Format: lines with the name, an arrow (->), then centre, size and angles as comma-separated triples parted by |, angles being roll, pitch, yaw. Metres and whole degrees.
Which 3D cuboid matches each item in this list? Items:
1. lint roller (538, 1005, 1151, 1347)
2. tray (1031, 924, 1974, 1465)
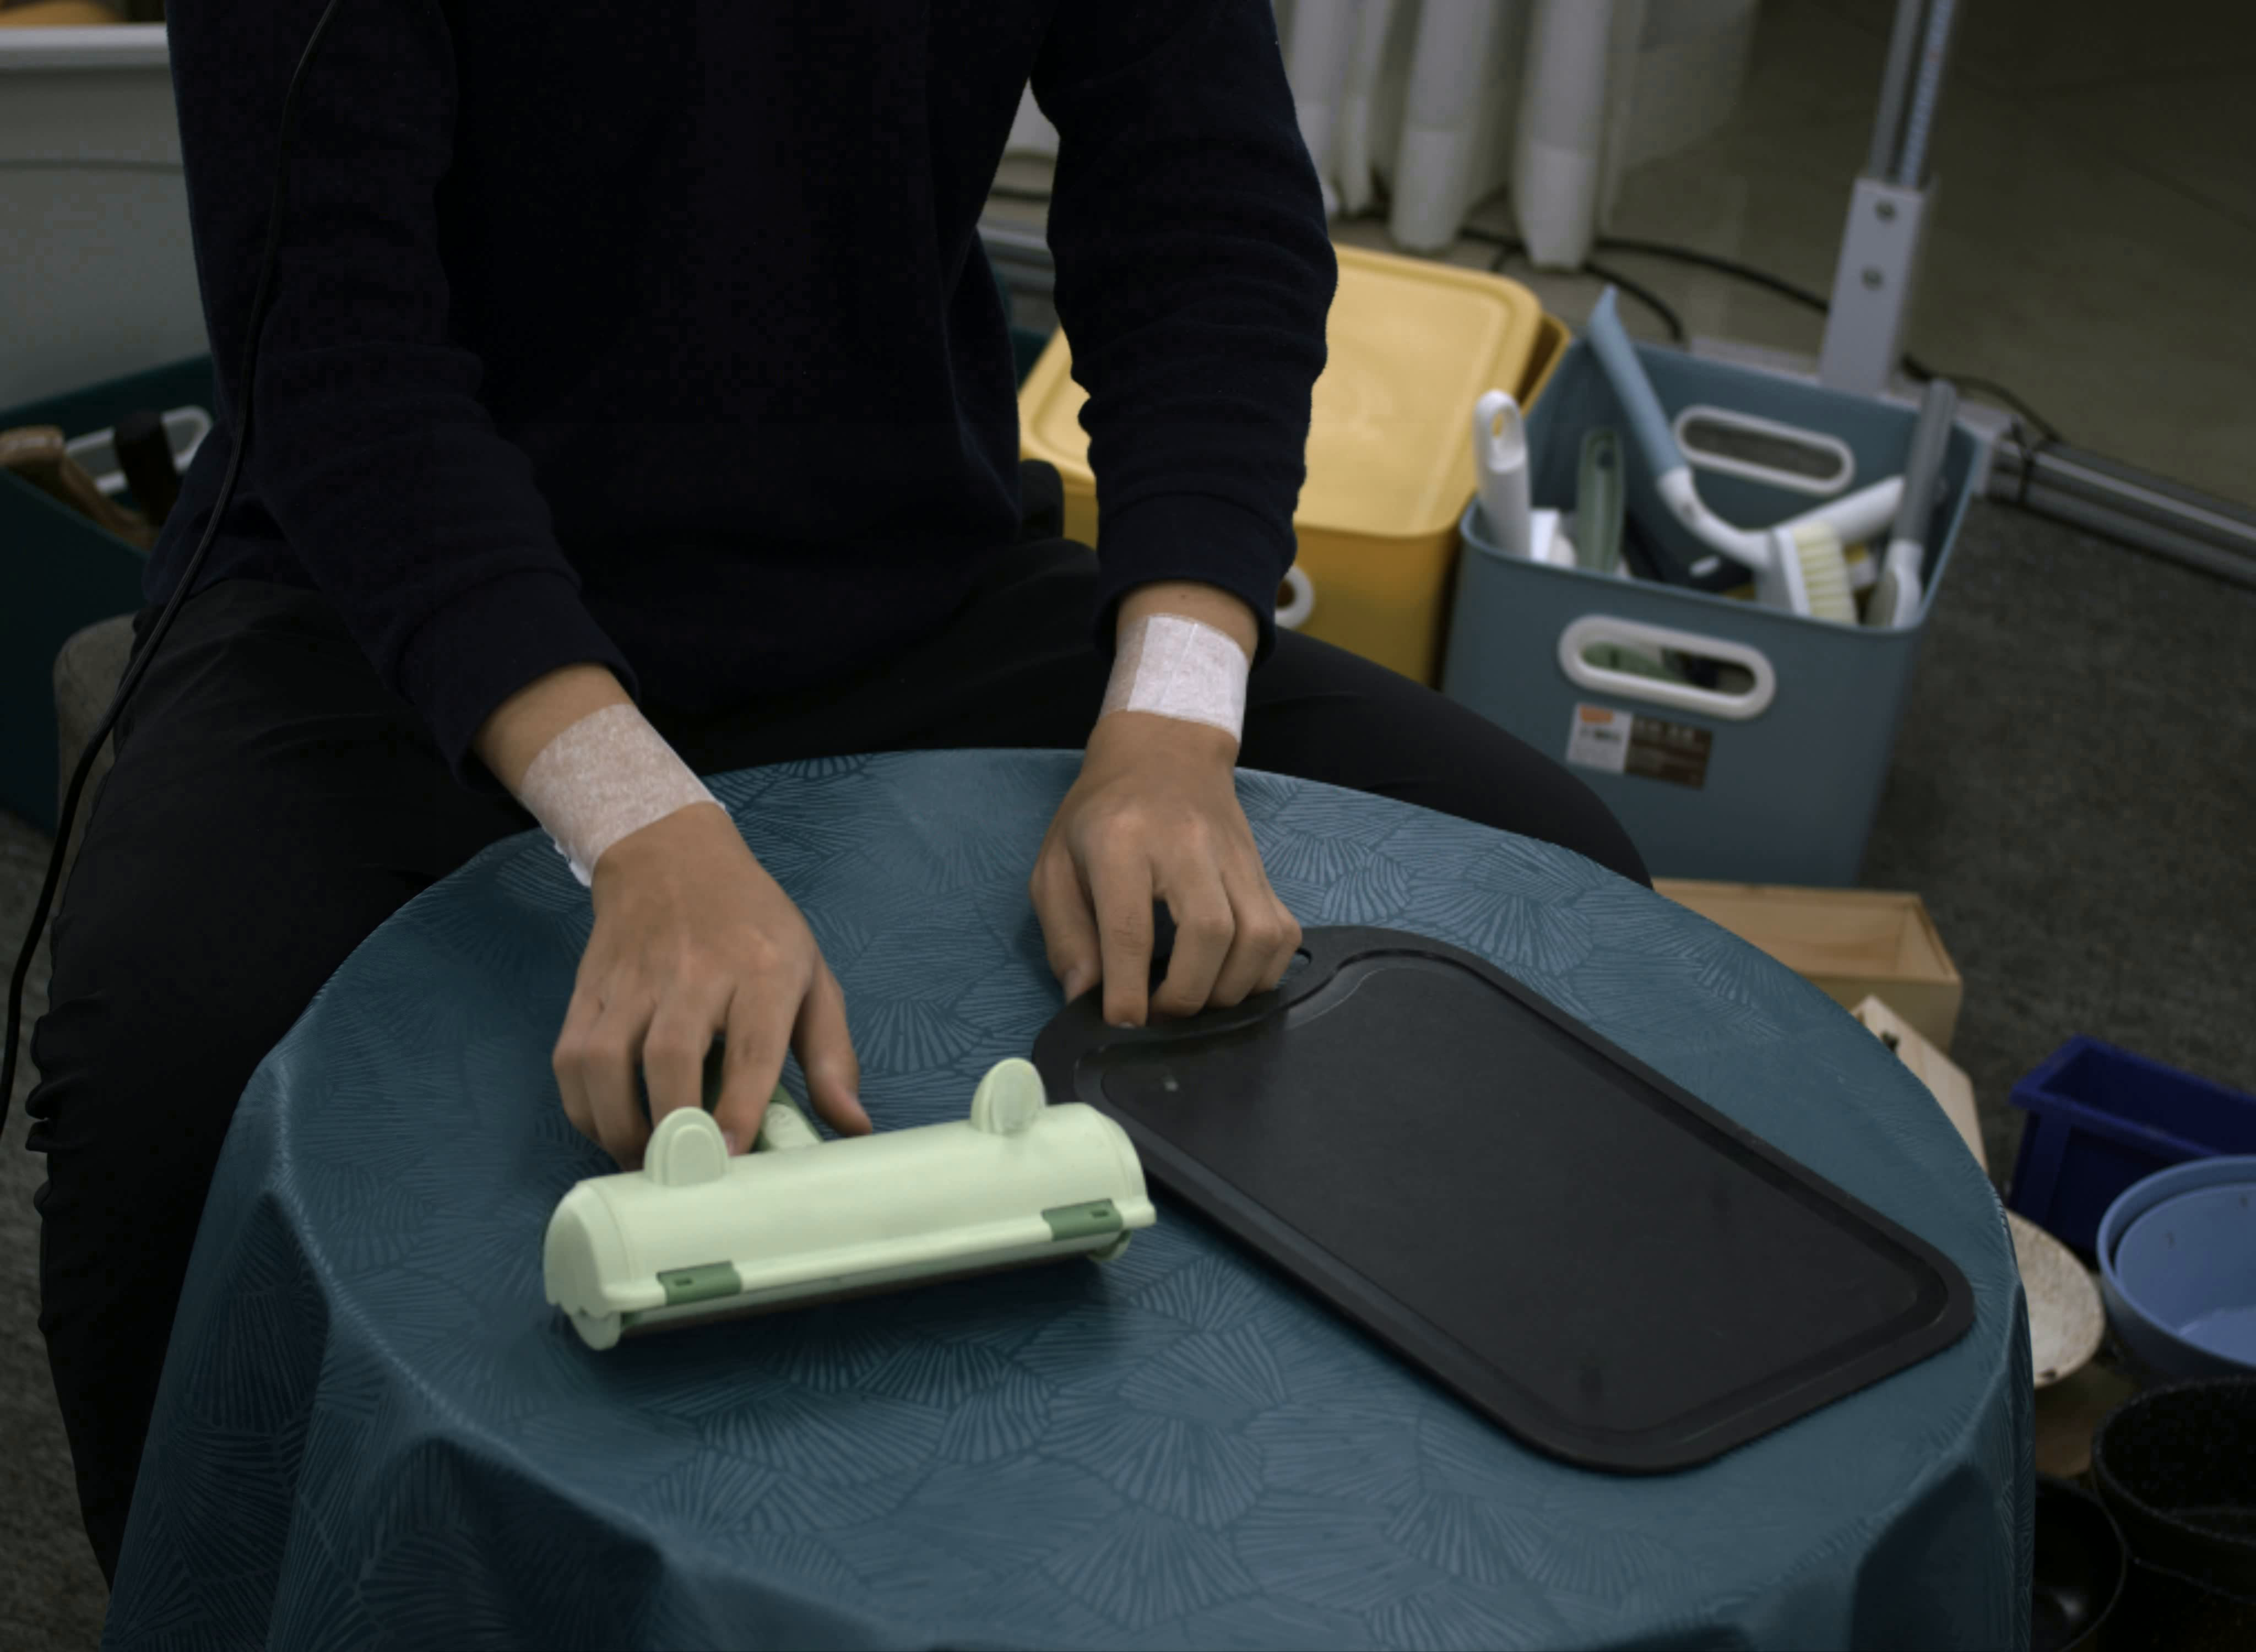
lint roller -> -0.115, 0.090, 1.747 | 0.197, 0.082, 0.185 | -7, 36, -28
tray -> 0.119, 0.116, 1.824 | 0.210, 0.010, 0.328 | -17, 37, -40
